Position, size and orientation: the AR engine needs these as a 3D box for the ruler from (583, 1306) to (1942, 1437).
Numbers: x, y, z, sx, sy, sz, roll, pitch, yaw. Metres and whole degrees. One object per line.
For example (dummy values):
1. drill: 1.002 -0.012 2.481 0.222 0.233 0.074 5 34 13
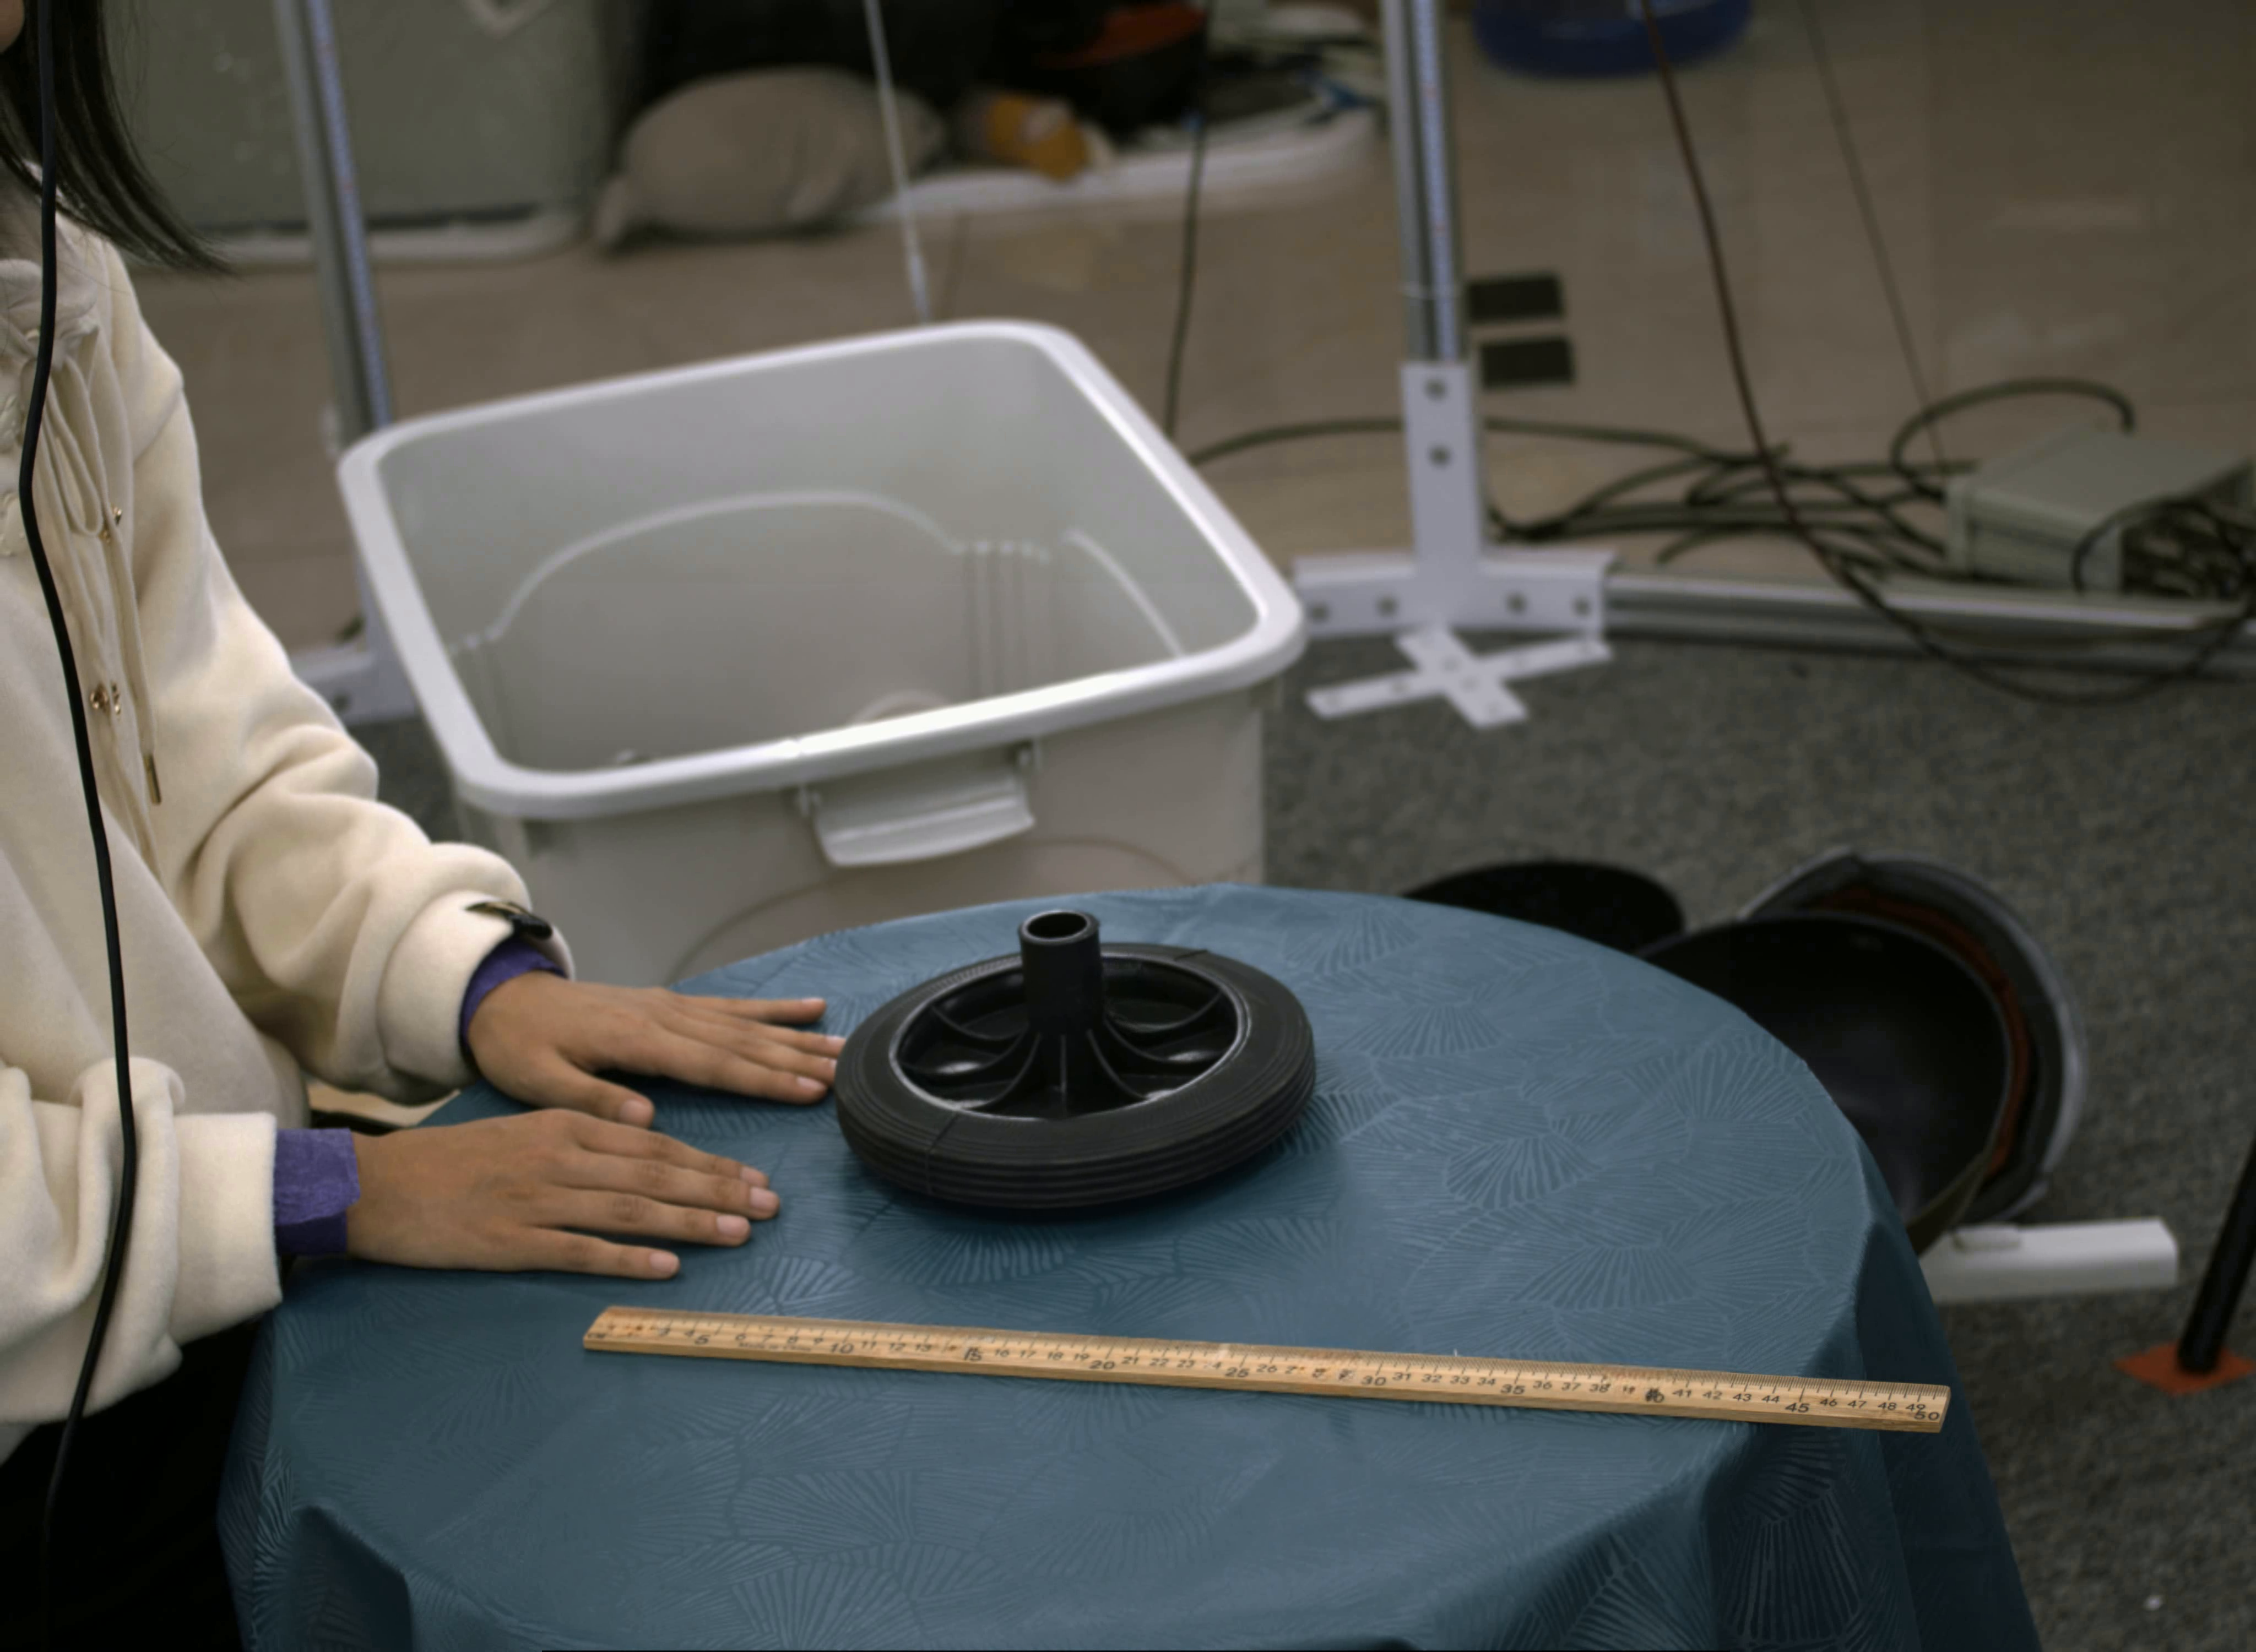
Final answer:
1. ruler: 0.039 0.193 2.017 0.499 0.006 0.026 2 27 18

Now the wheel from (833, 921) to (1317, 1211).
1. wheel: -0.023 0.079 2.192 0.187 0.080 0.187 -13 25 -14
